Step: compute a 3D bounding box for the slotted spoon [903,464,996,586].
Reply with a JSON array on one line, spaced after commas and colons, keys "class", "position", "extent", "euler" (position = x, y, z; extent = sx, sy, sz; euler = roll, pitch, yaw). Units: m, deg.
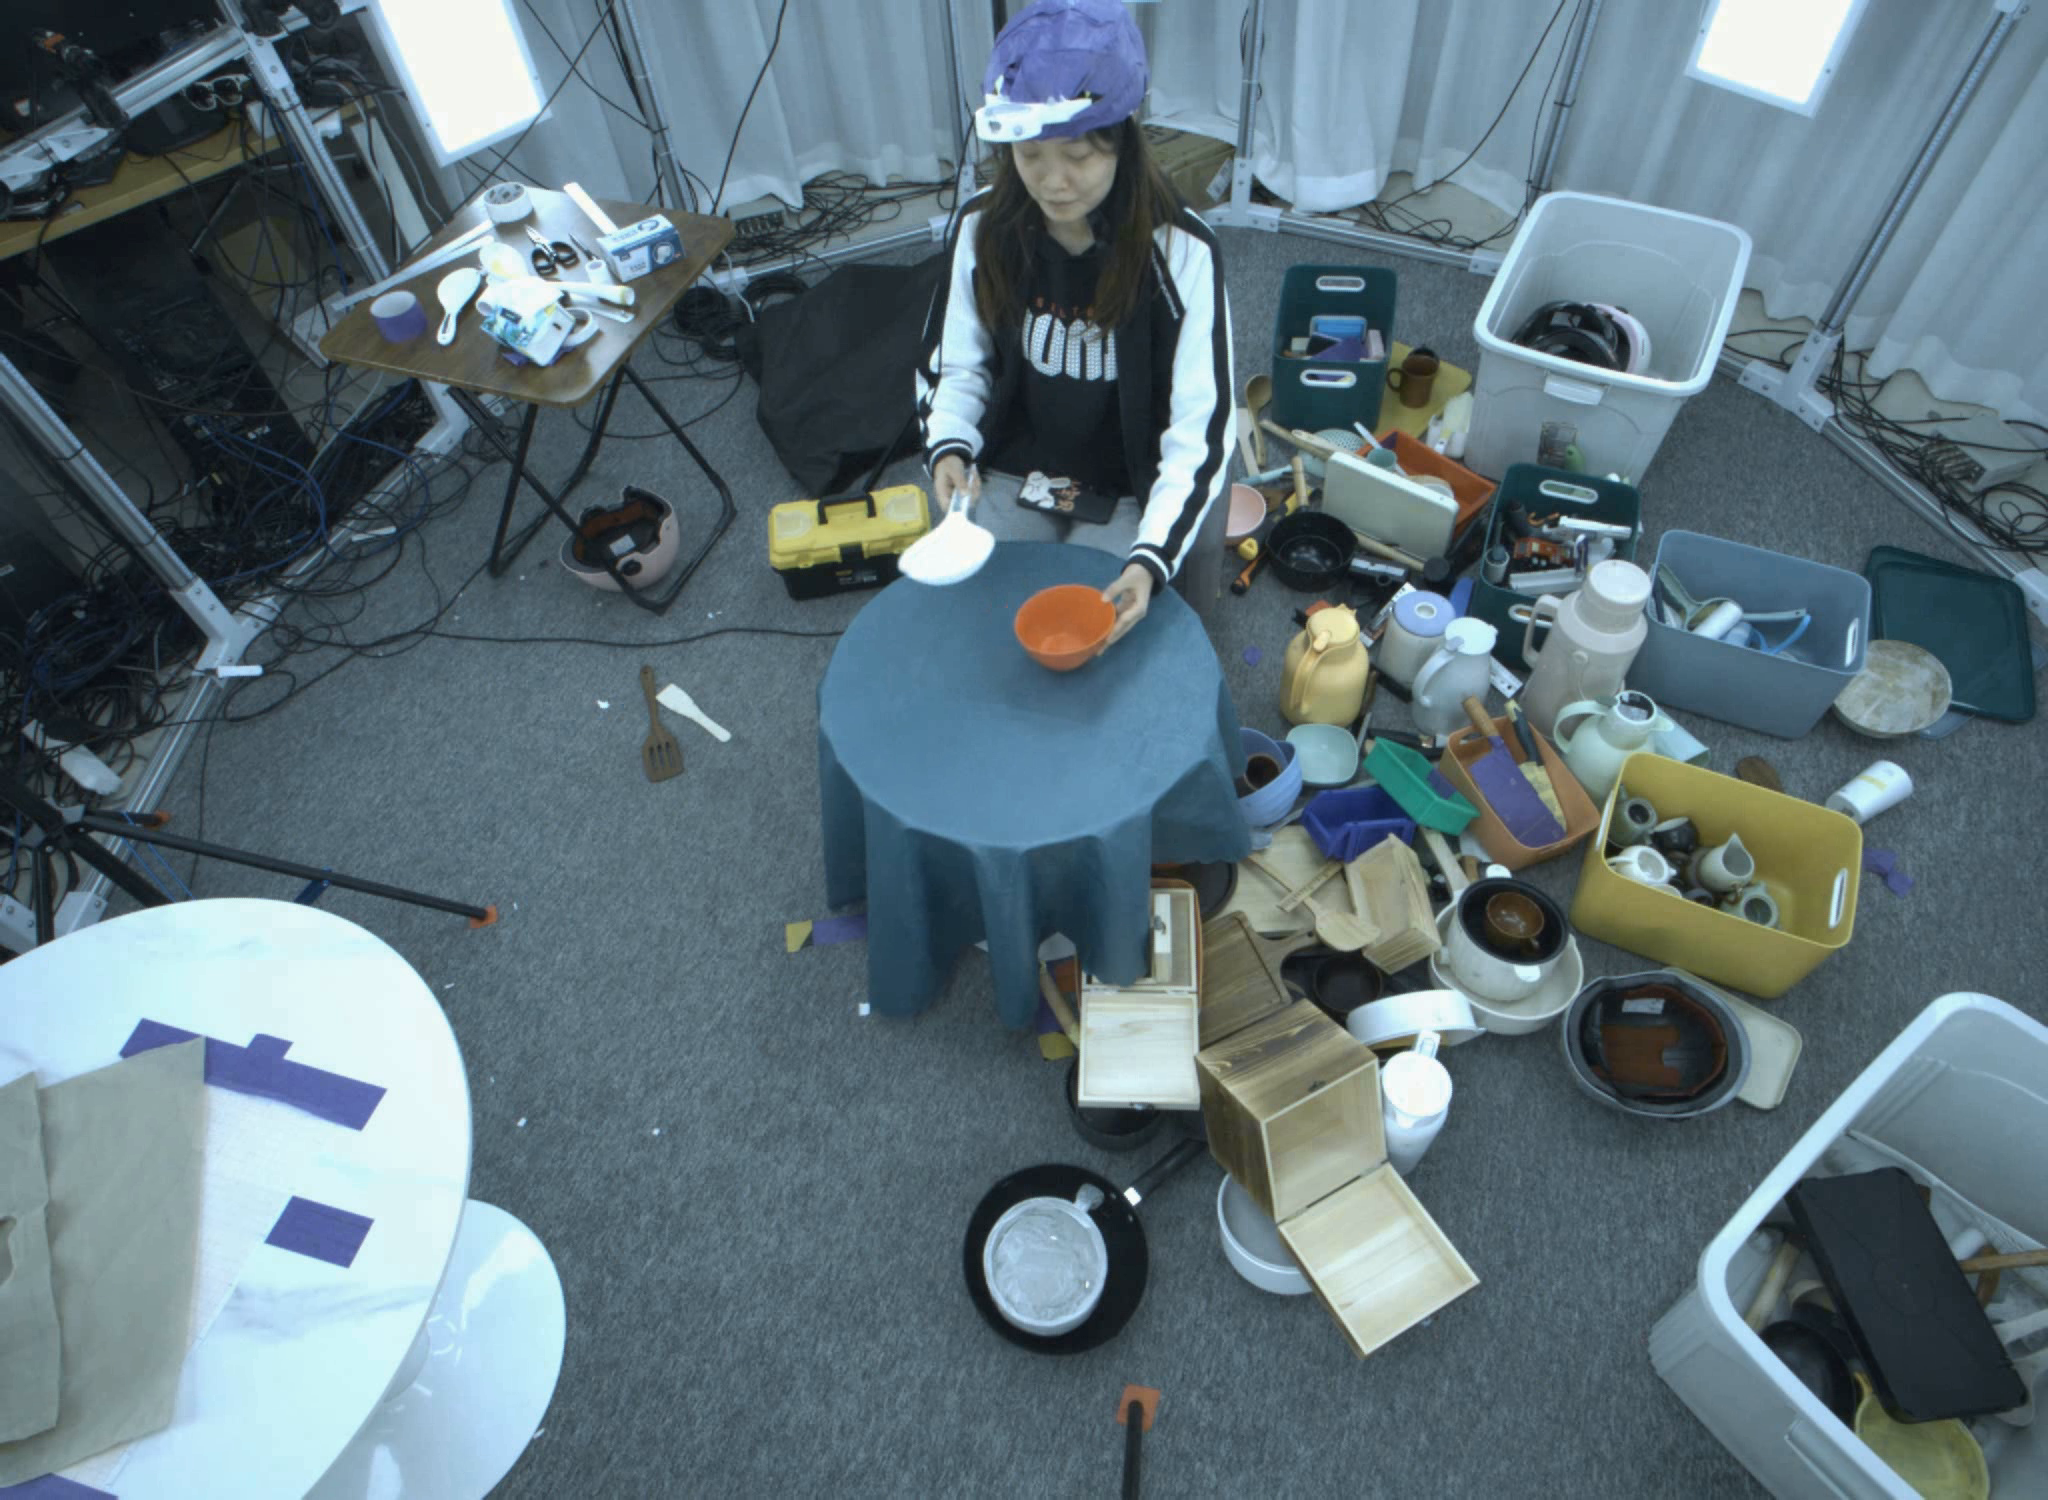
[{"class": "slotted spoon", "position": [-0.097, -0.337, 1.794], "extent": [0.135, 0.046, 0.346], "euler": [-10, 43, 12]}]

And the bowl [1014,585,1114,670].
[{"class": "bowl", "position": [0.061, -0.169, 1.830], "extent": [0.148, 0.106, 0.146], "euler": [-2, 57, 4]}]
